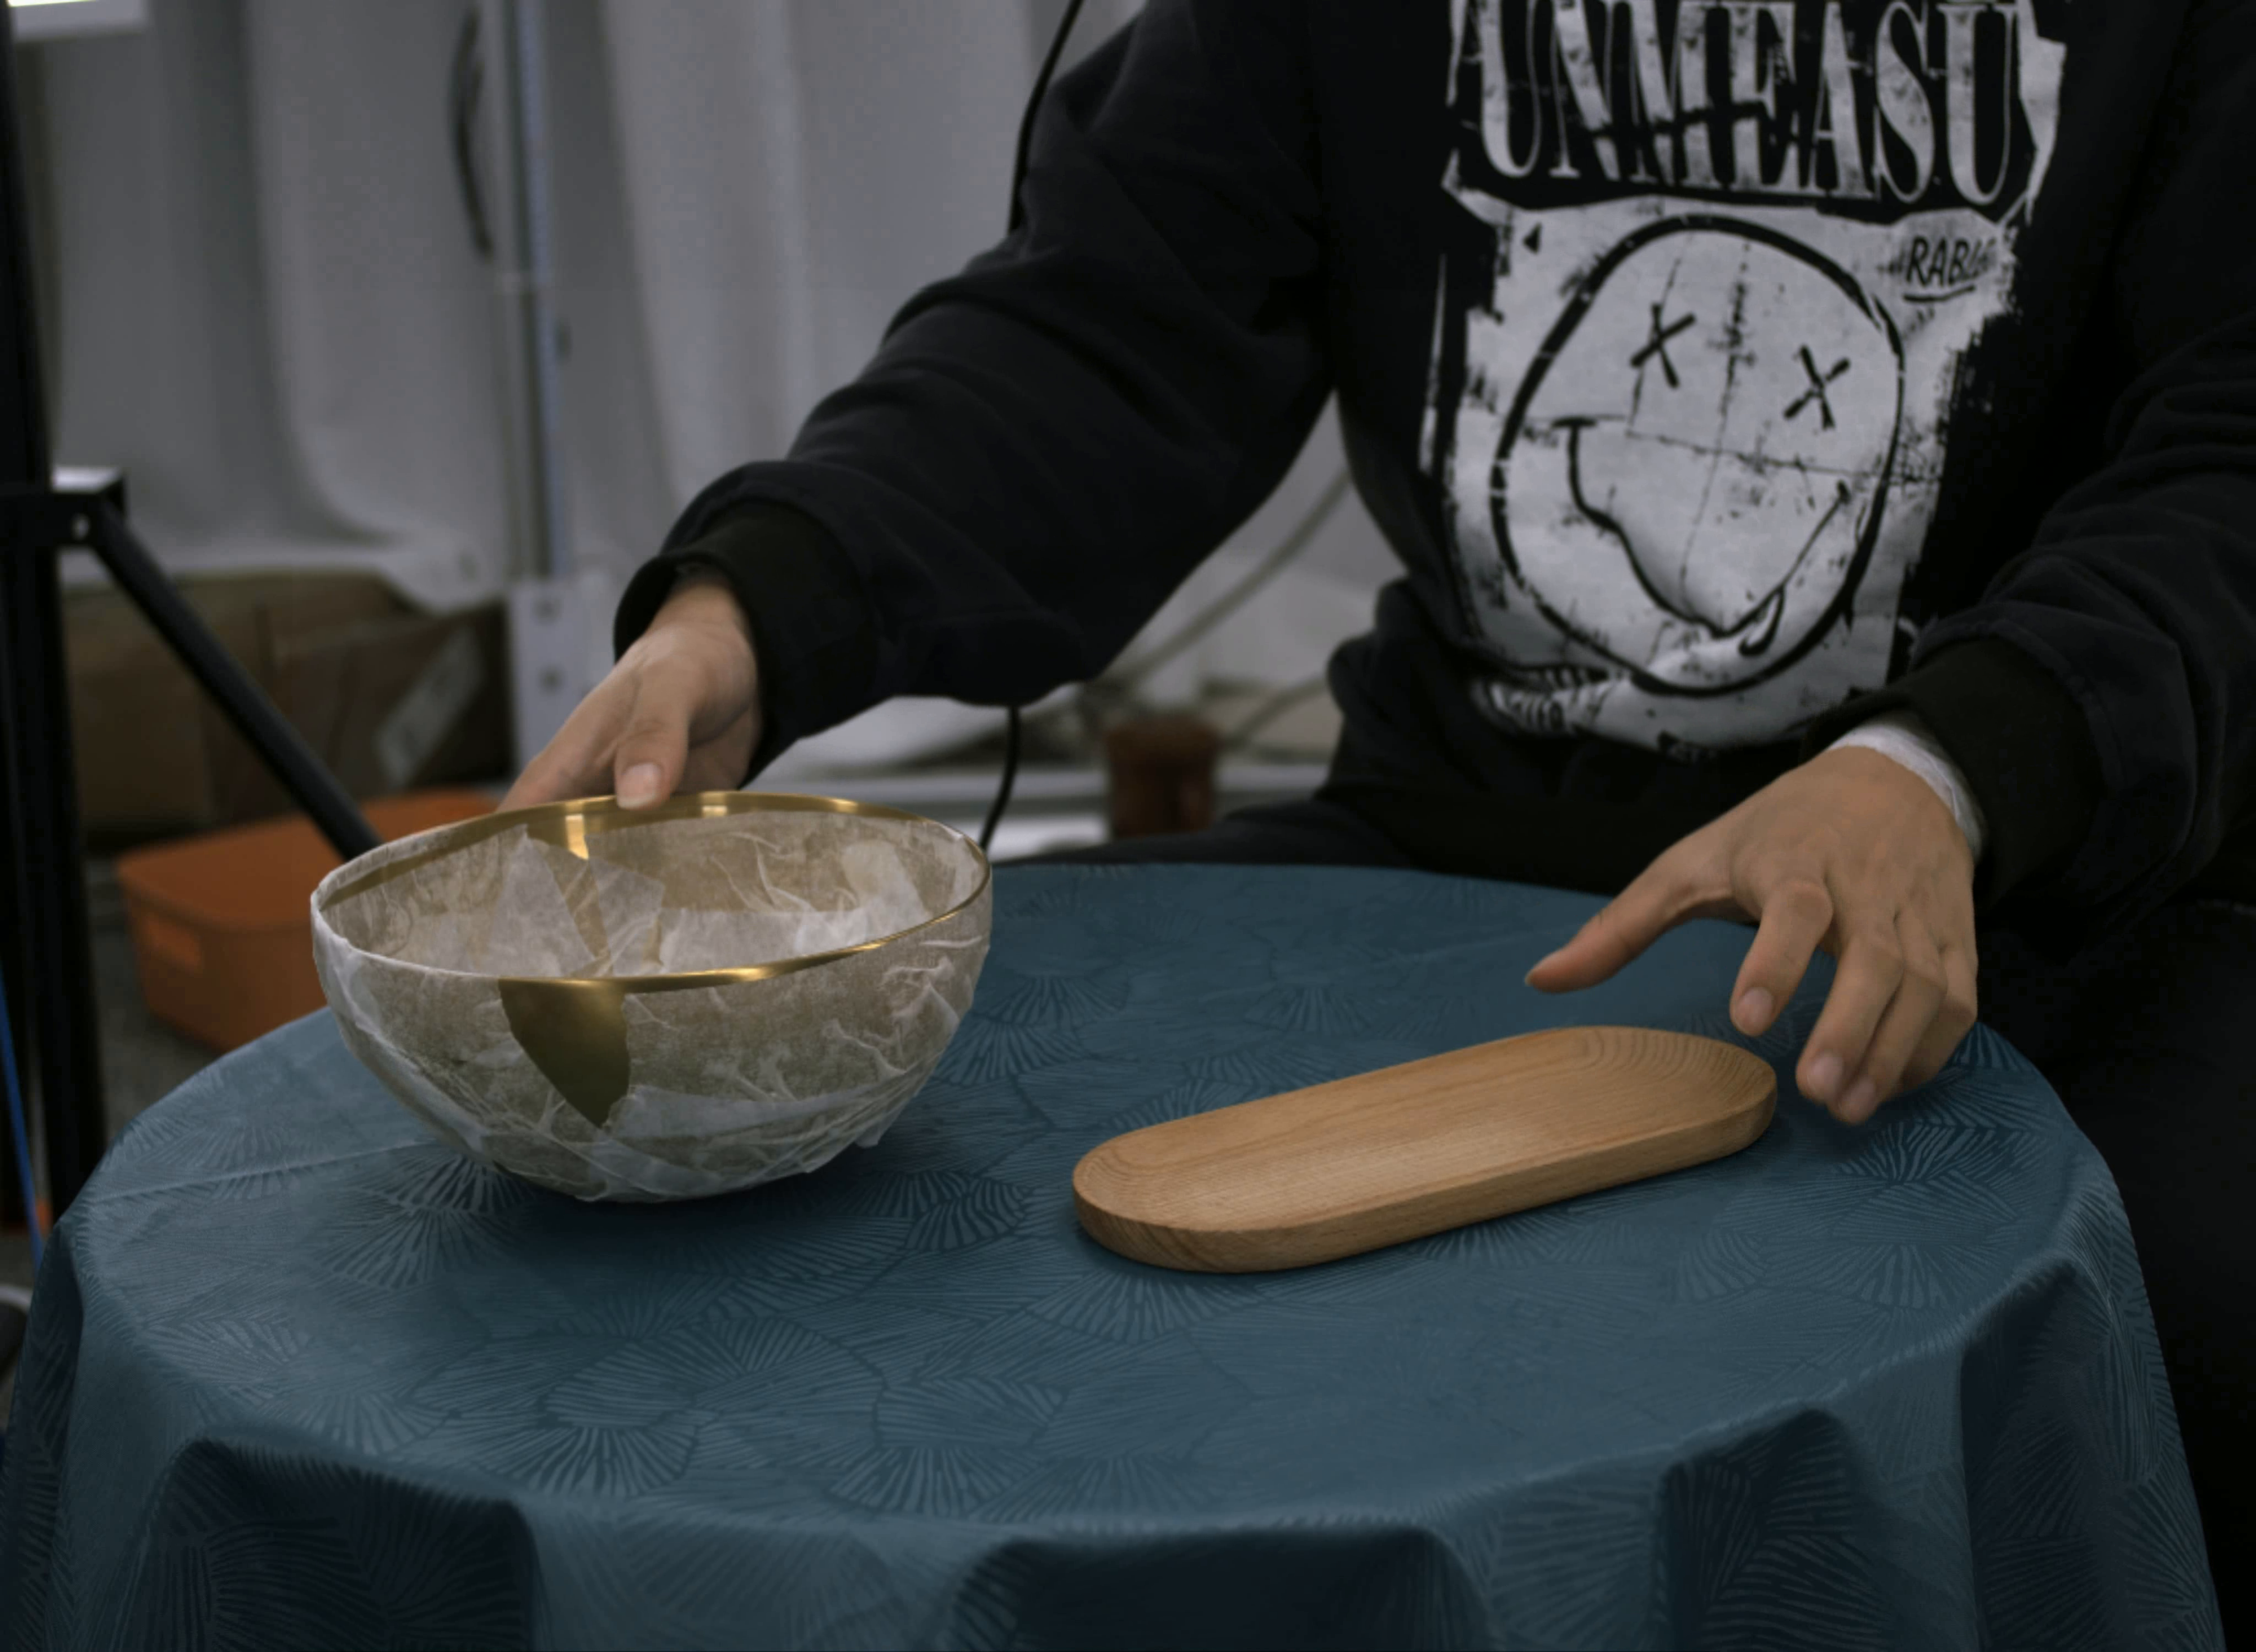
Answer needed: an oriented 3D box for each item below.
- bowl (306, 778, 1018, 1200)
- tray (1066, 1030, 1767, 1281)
[{"bbox_3d":[-0.134,0.057,1.587,0.213,0.094,0.216,-4,15,0],"label":"bowl"},{"bbox_3d":[0.087,0.096,1.558,0.226,0.020,0.104,-14,17,-29],"label":"tray"}]
